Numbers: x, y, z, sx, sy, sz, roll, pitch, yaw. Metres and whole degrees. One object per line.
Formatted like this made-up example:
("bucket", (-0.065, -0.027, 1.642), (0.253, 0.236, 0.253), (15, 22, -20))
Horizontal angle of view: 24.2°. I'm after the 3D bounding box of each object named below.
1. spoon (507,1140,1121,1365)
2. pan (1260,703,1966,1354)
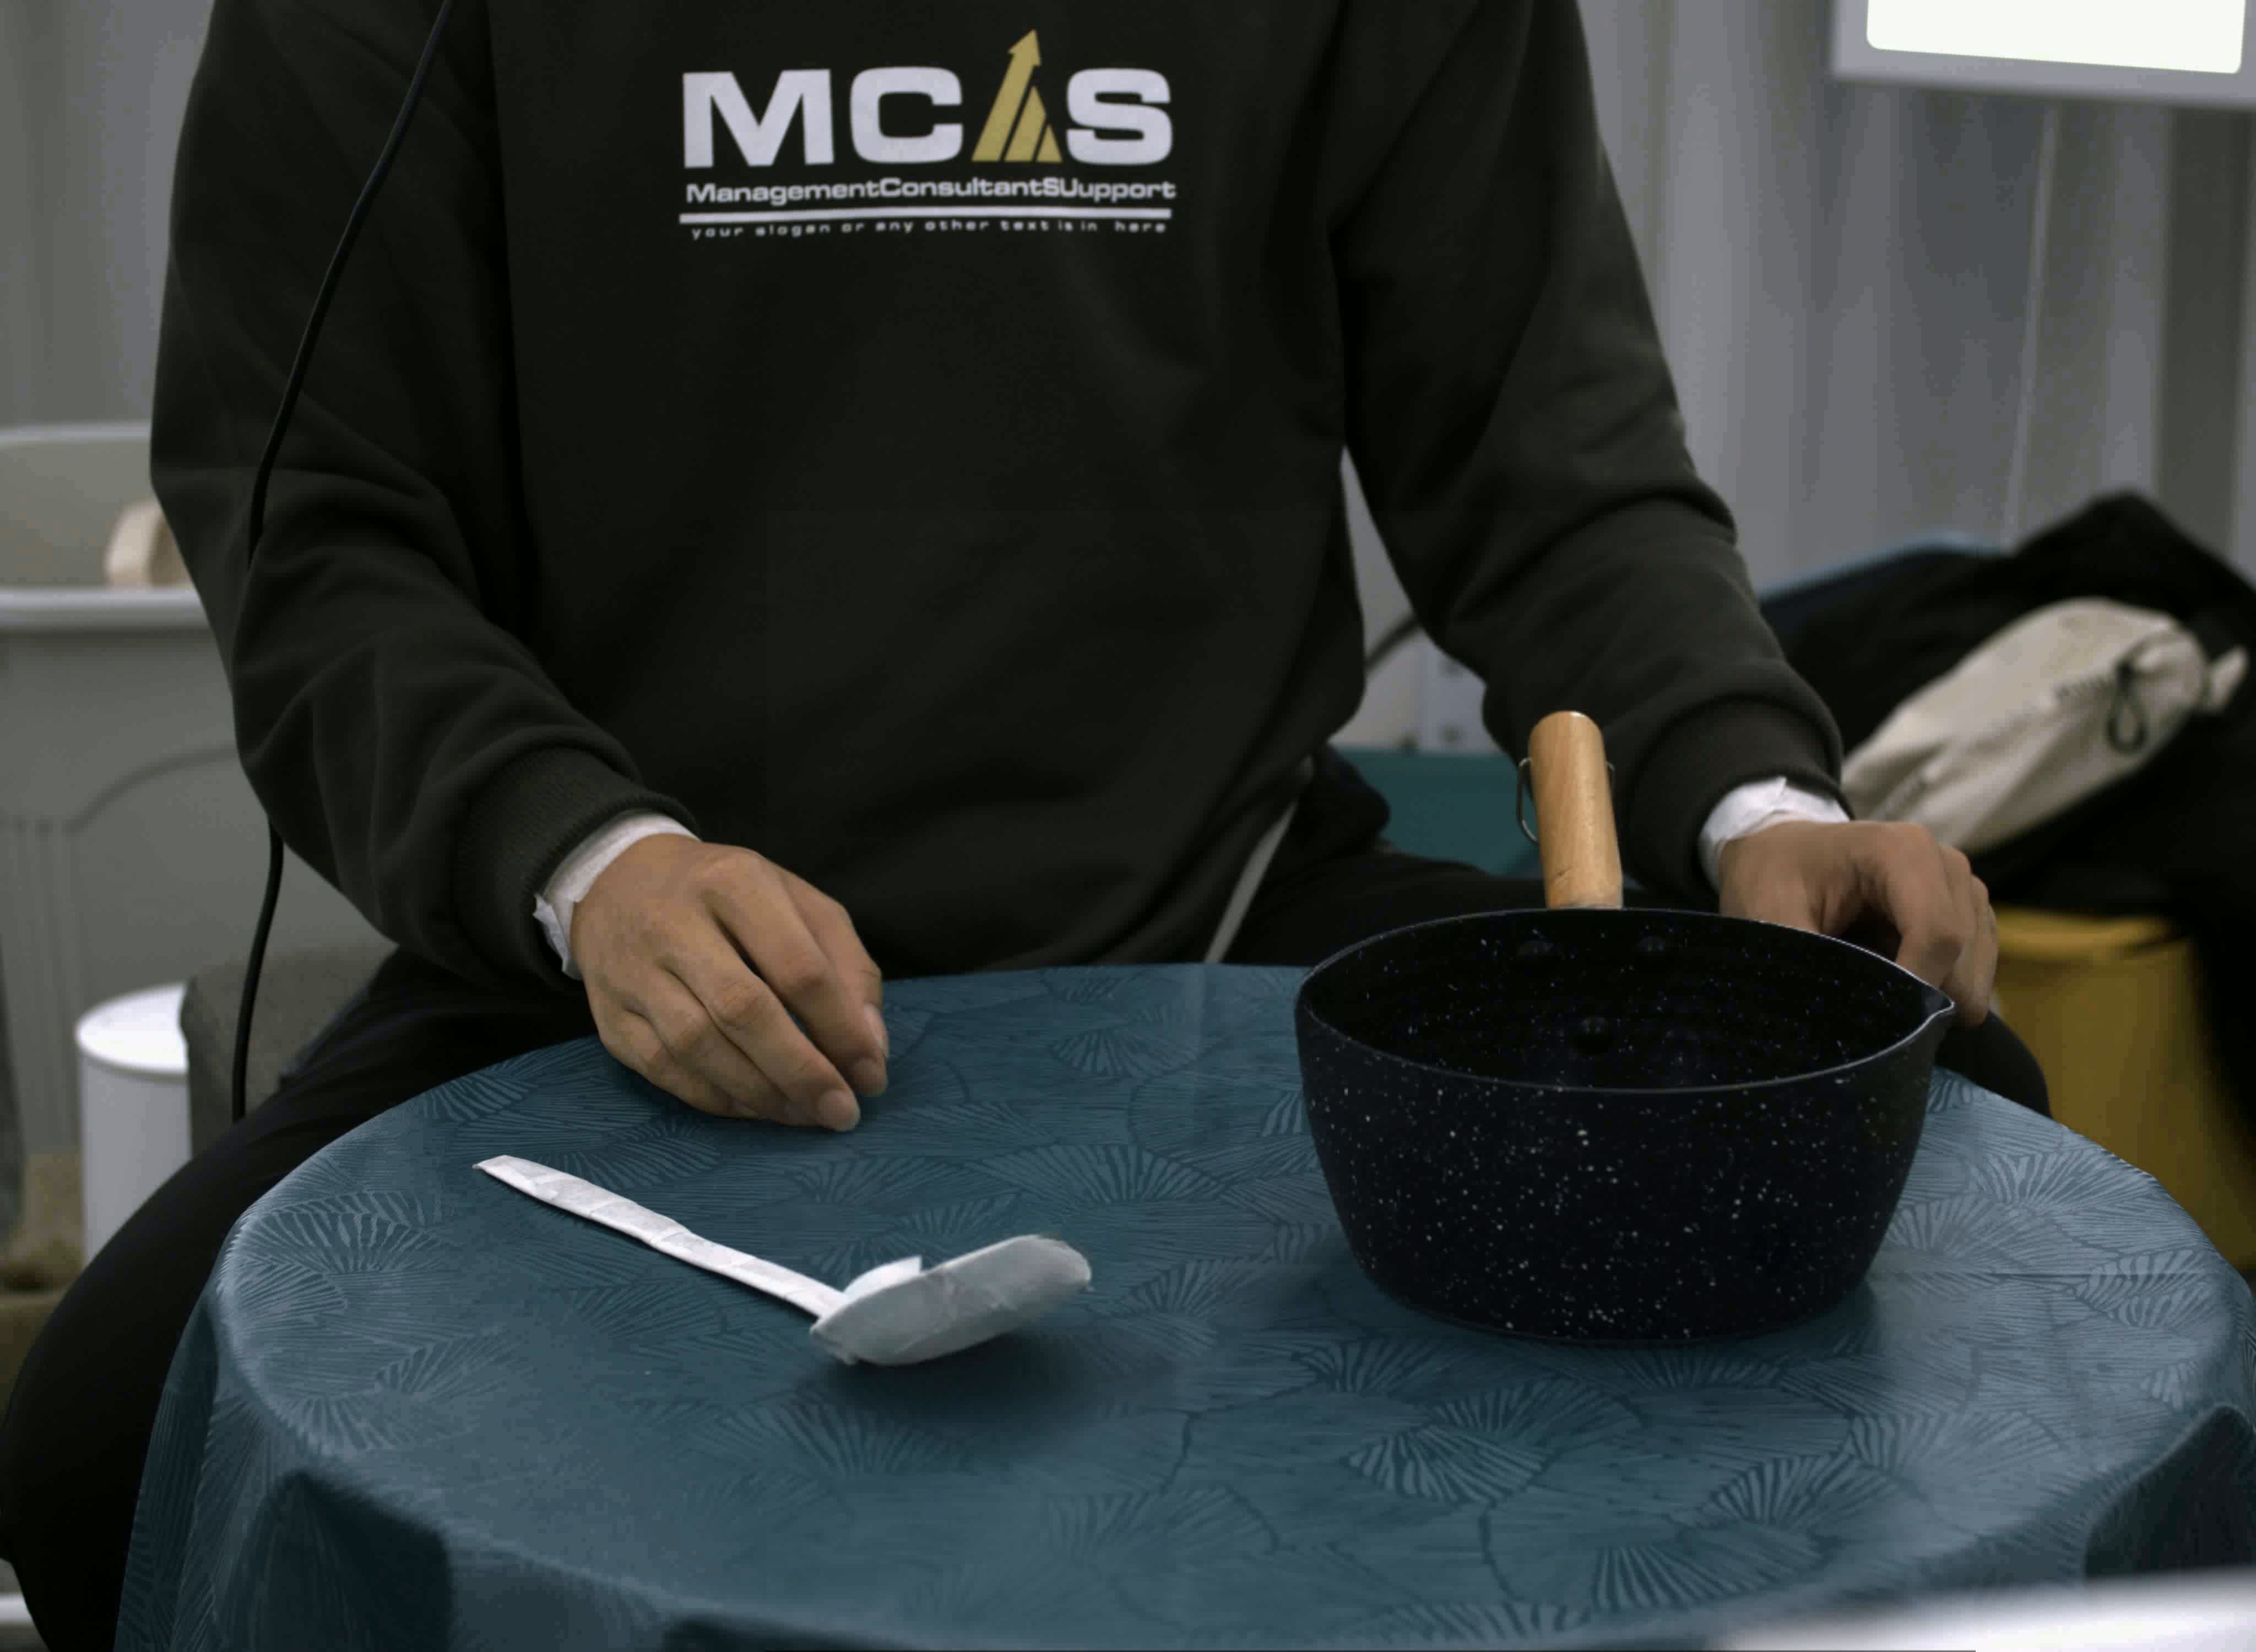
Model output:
("spoon", (-0.103, 0.105, 1.540), (0.101, 0.060, 0.273), (-9, 18, -37))
("pan", (0.143, 0.057, 1.628), (0.207, 0.109, 0.341), (-1, 17, 0))
